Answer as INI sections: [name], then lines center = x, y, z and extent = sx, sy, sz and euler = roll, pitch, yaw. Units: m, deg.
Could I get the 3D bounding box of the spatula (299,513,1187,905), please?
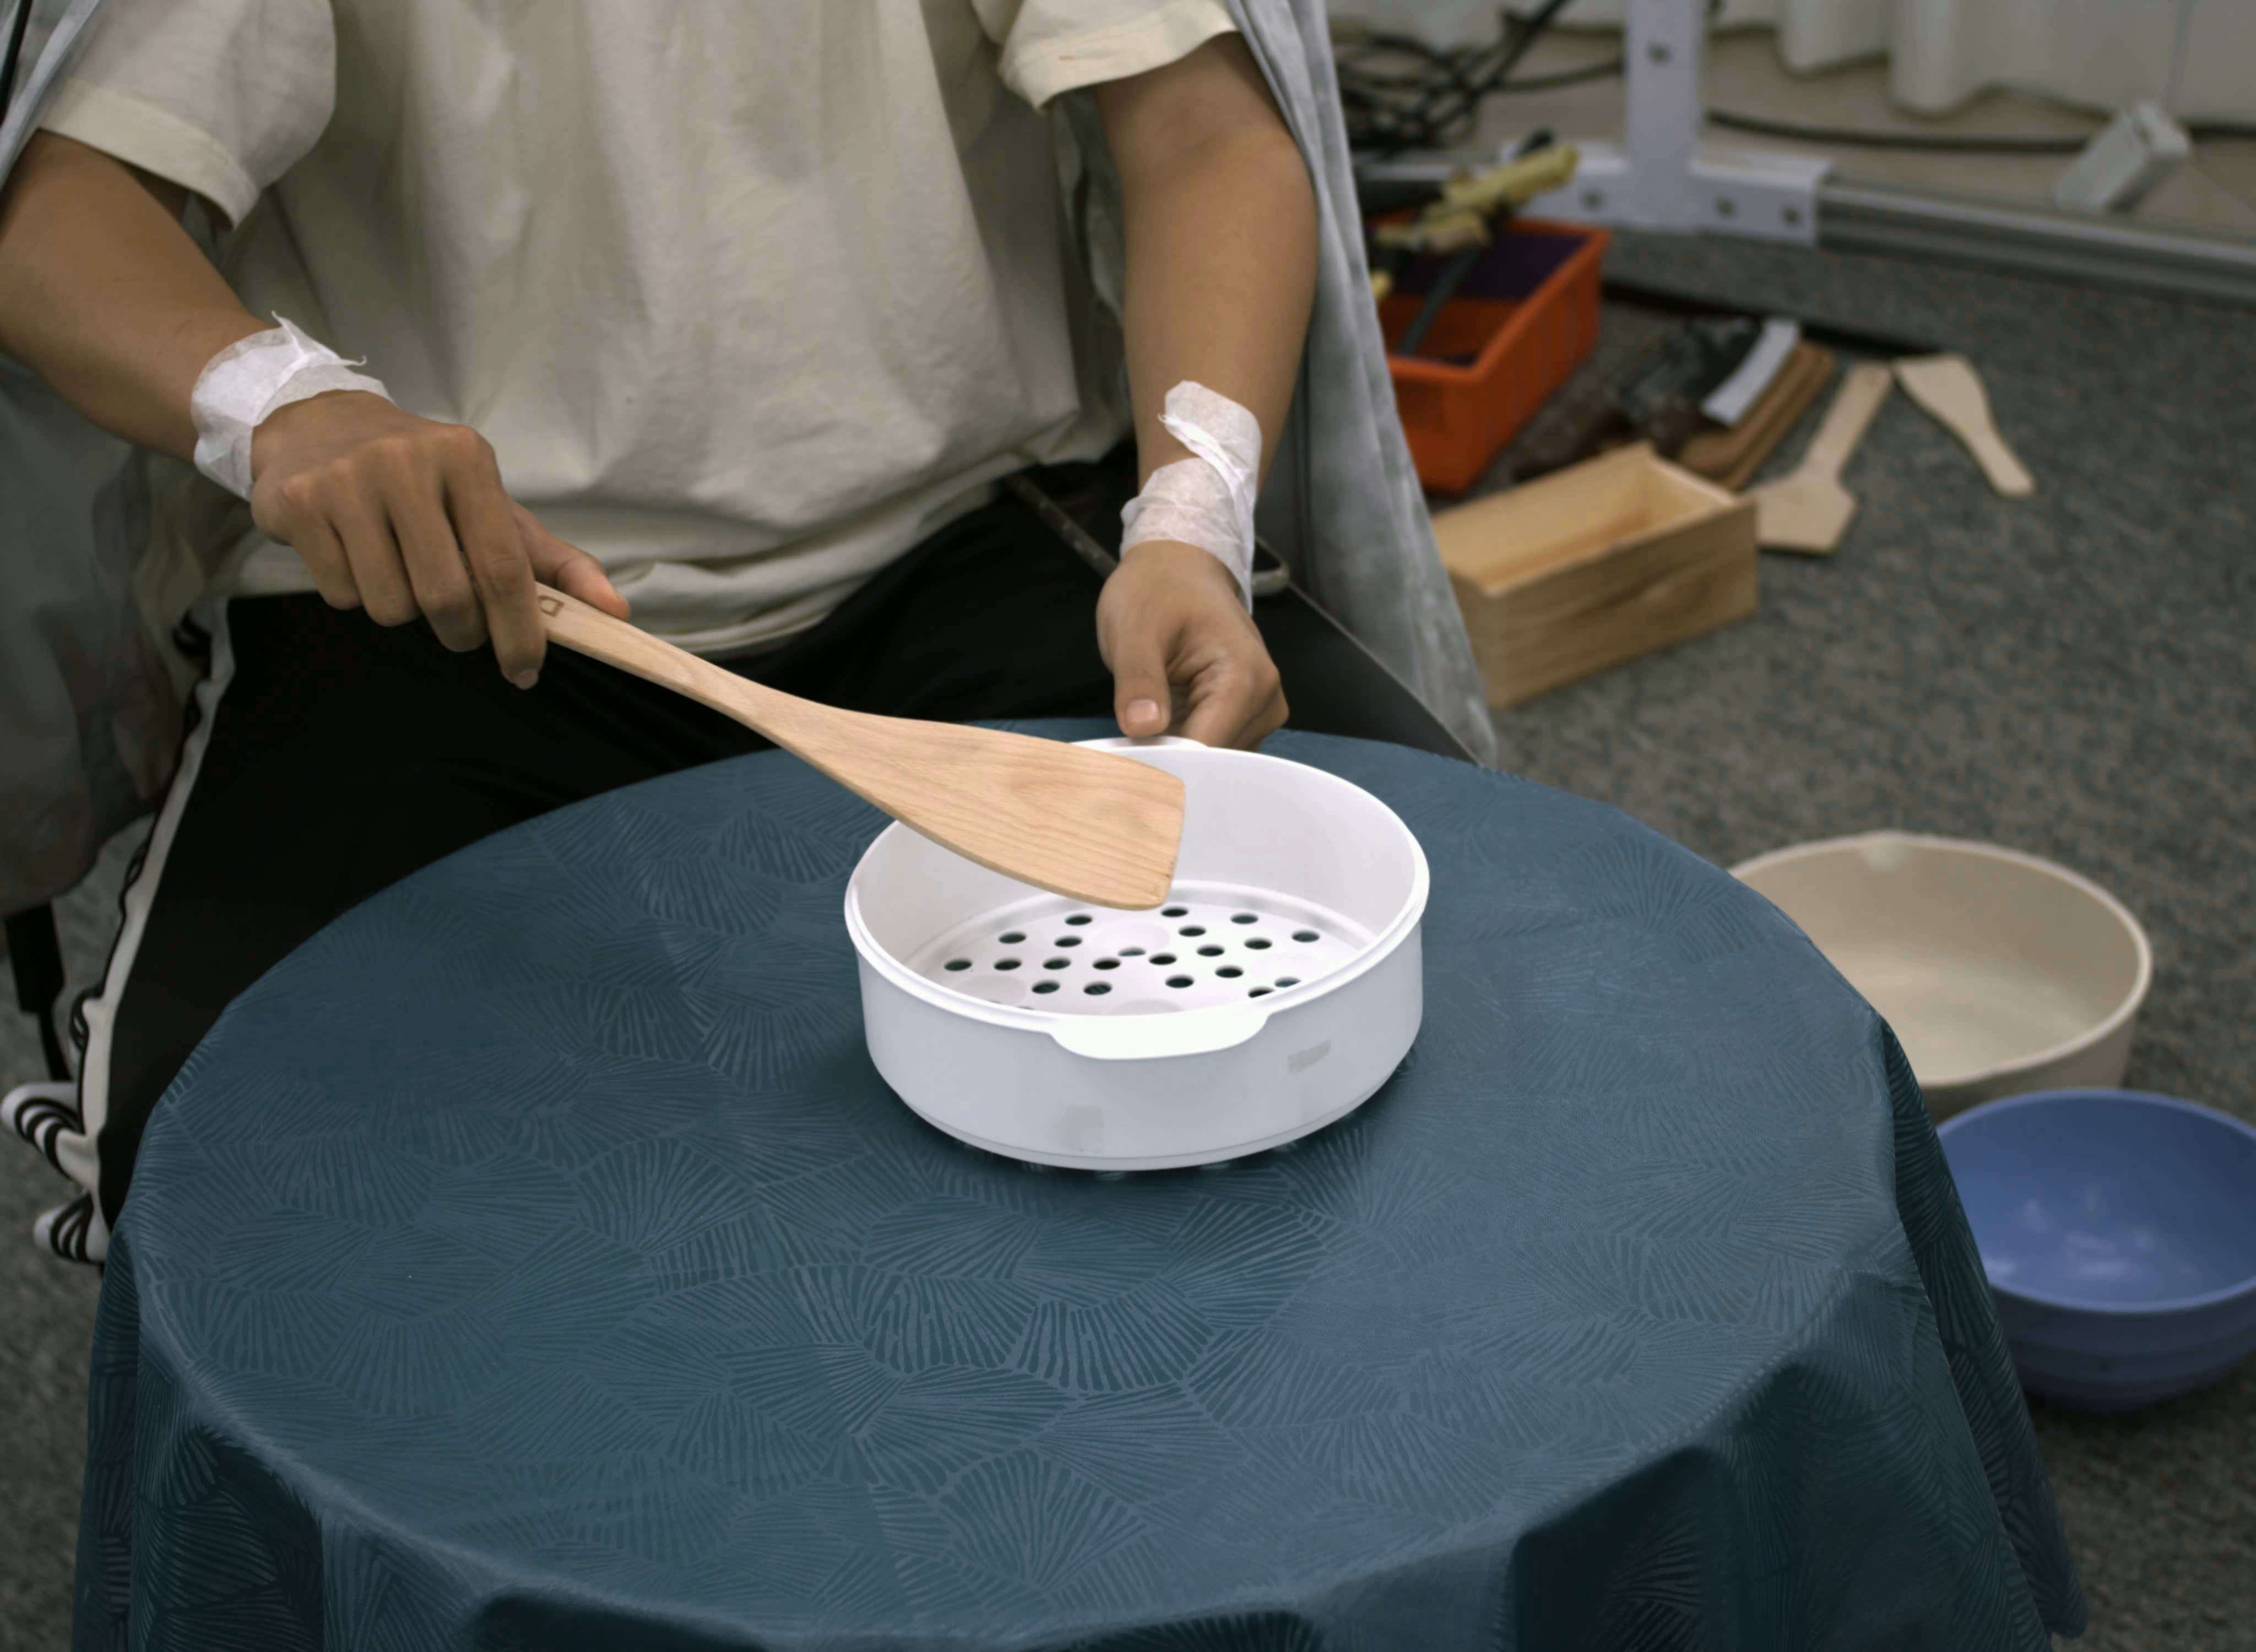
[spatula]
center = -0.131, -0.047, 1.919
extent = 0.326, 0.016, 0.081
euler = 21, 37, 5

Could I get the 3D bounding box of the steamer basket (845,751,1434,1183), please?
[steamer basket]
center = 0.005, 0.050, 1.928
extent = 0.201, 0.068, 0.234
euler = -3, 26, -3
